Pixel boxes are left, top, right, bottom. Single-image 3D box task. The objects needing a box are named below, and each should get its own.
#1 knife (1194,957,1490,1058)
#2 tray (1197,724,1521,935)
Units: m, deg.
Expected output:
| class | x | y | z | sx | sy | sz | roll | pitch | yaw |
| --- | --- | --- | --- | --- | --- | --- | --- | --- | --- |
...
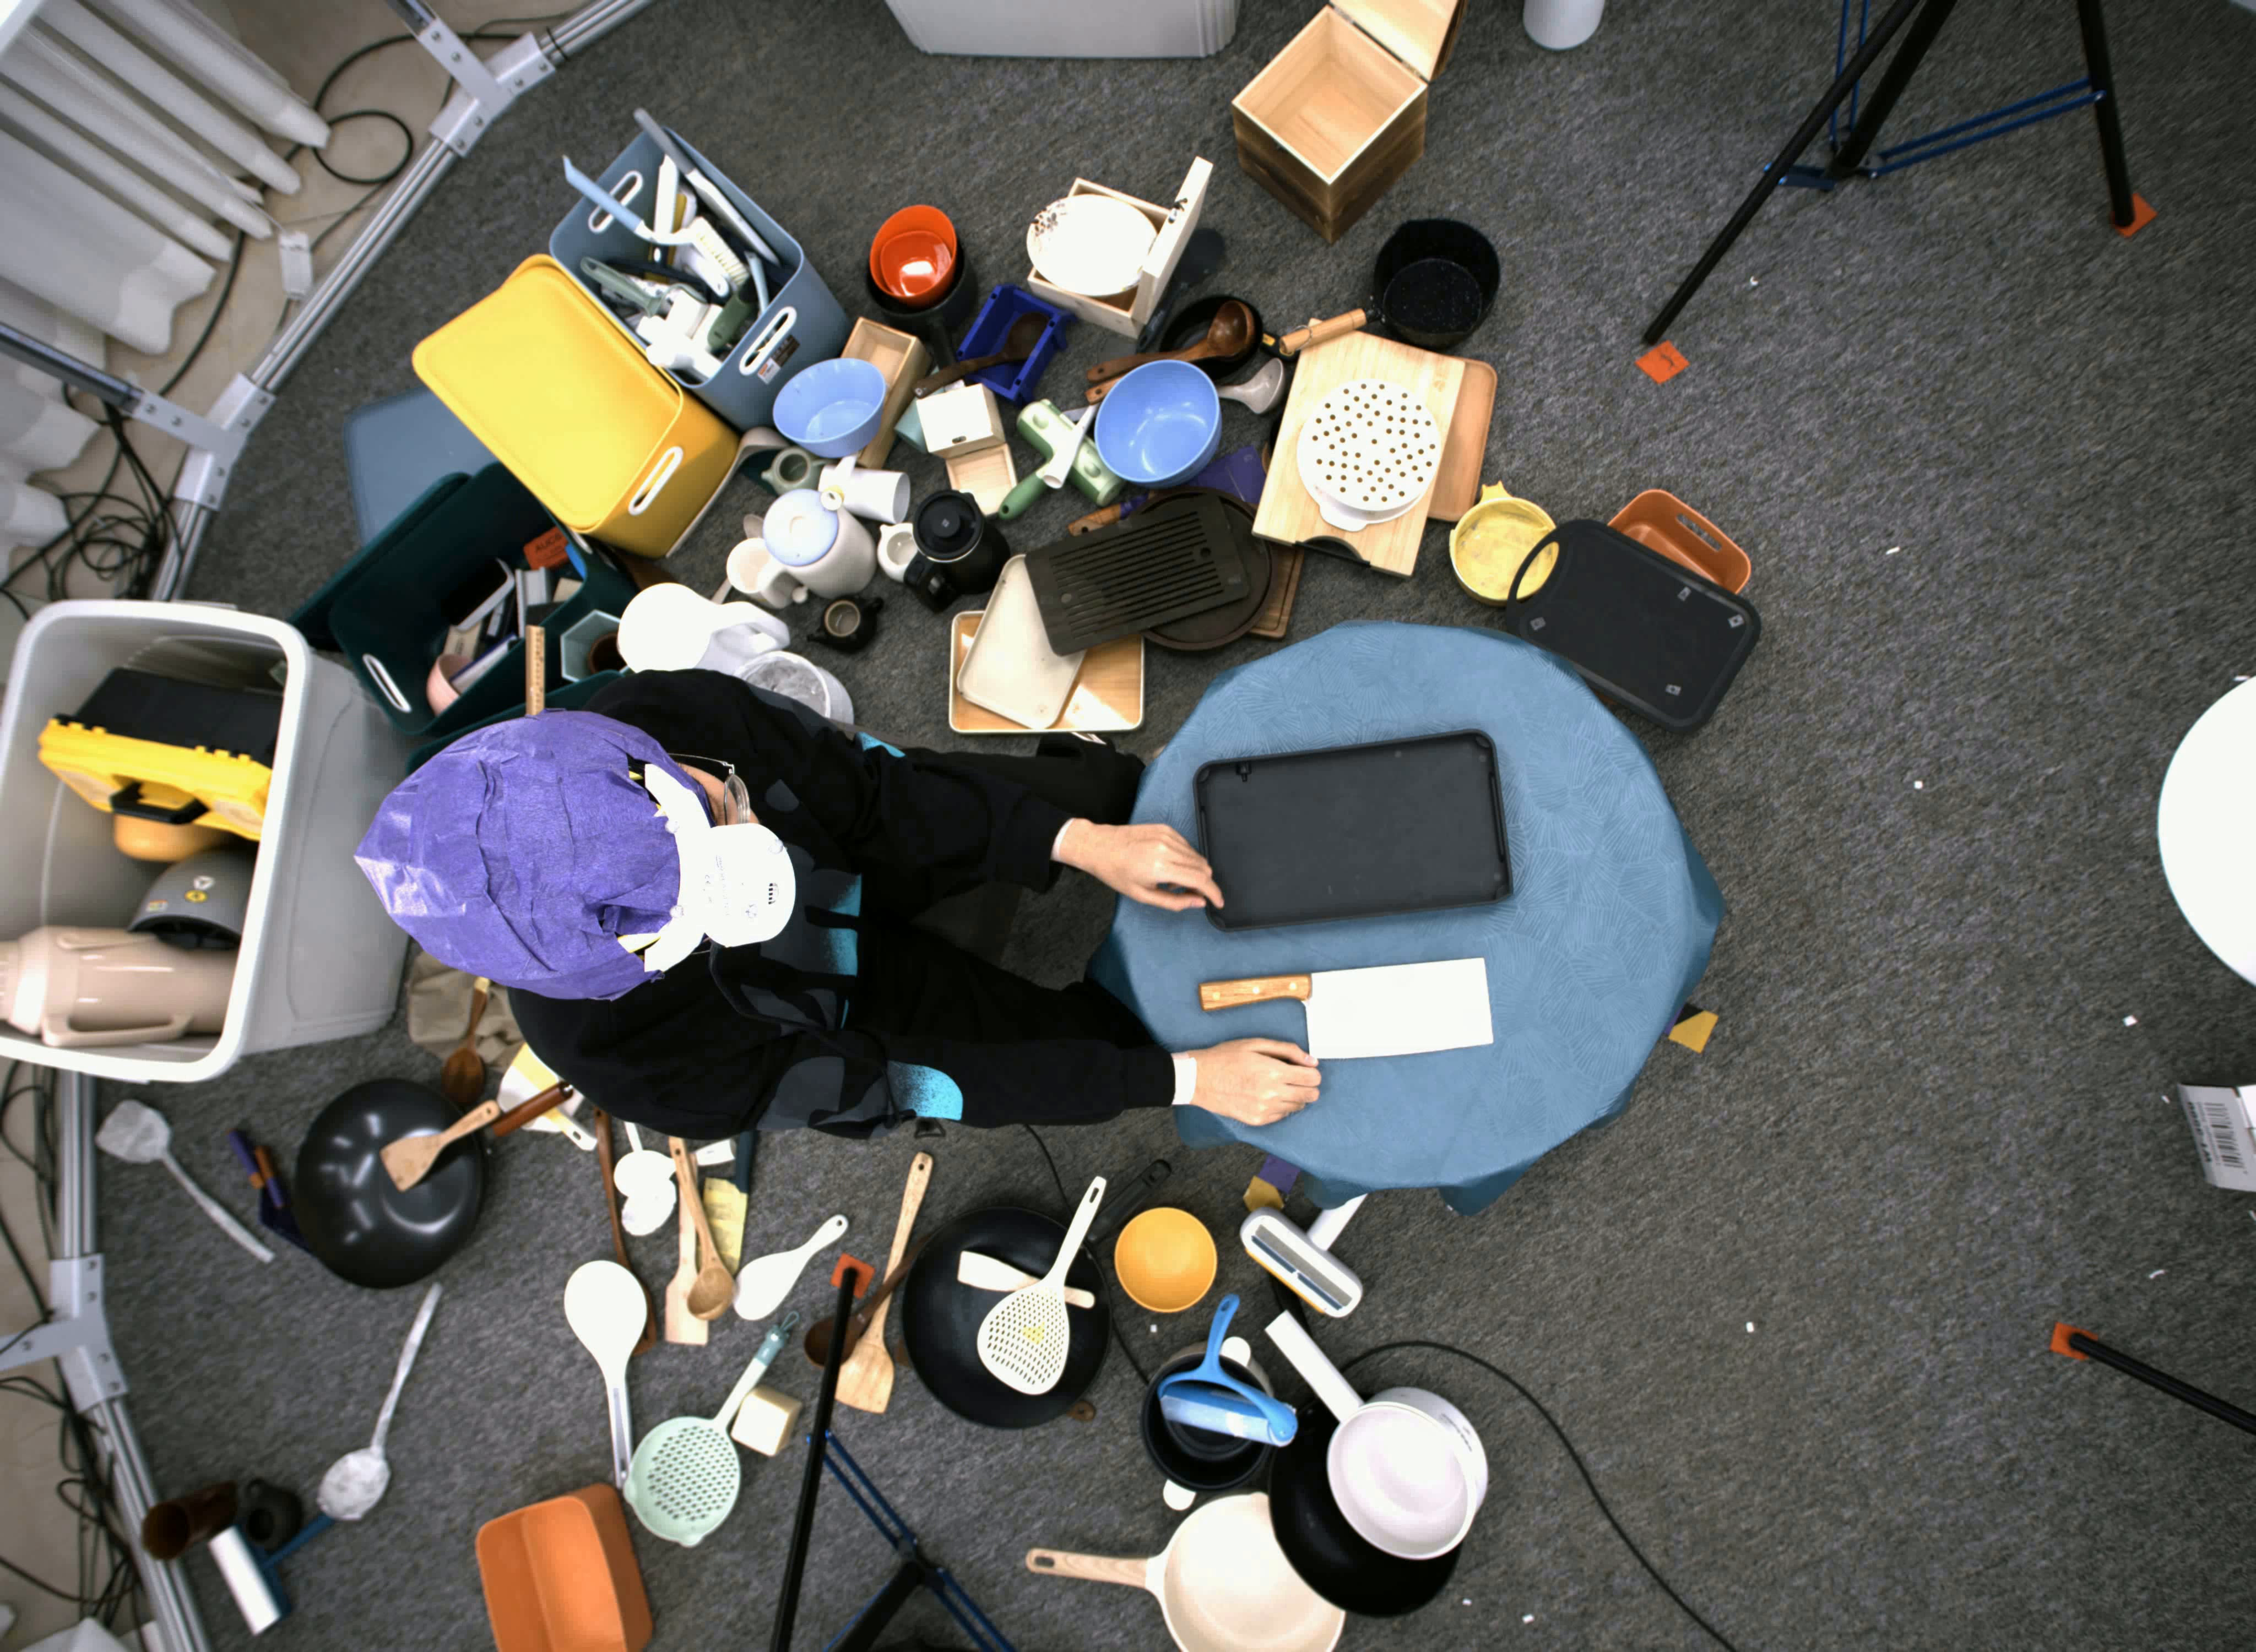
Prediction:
| class | x | y | z | sx | sy | sz | roll | pitch | yaw |
| --- | --- | --- | --- | --- | --- | --- | --- | --- | --- |
| knife | 0.224 | 0.193 | 1.454 | 0.307 | 0.021 | 0.092 | -6 | 87 | 8 |
| tray | 0.240 | 0.005 | 1.451 | 0.319 | 0.037 | 0.183 | -9 | 86 | 10 |
